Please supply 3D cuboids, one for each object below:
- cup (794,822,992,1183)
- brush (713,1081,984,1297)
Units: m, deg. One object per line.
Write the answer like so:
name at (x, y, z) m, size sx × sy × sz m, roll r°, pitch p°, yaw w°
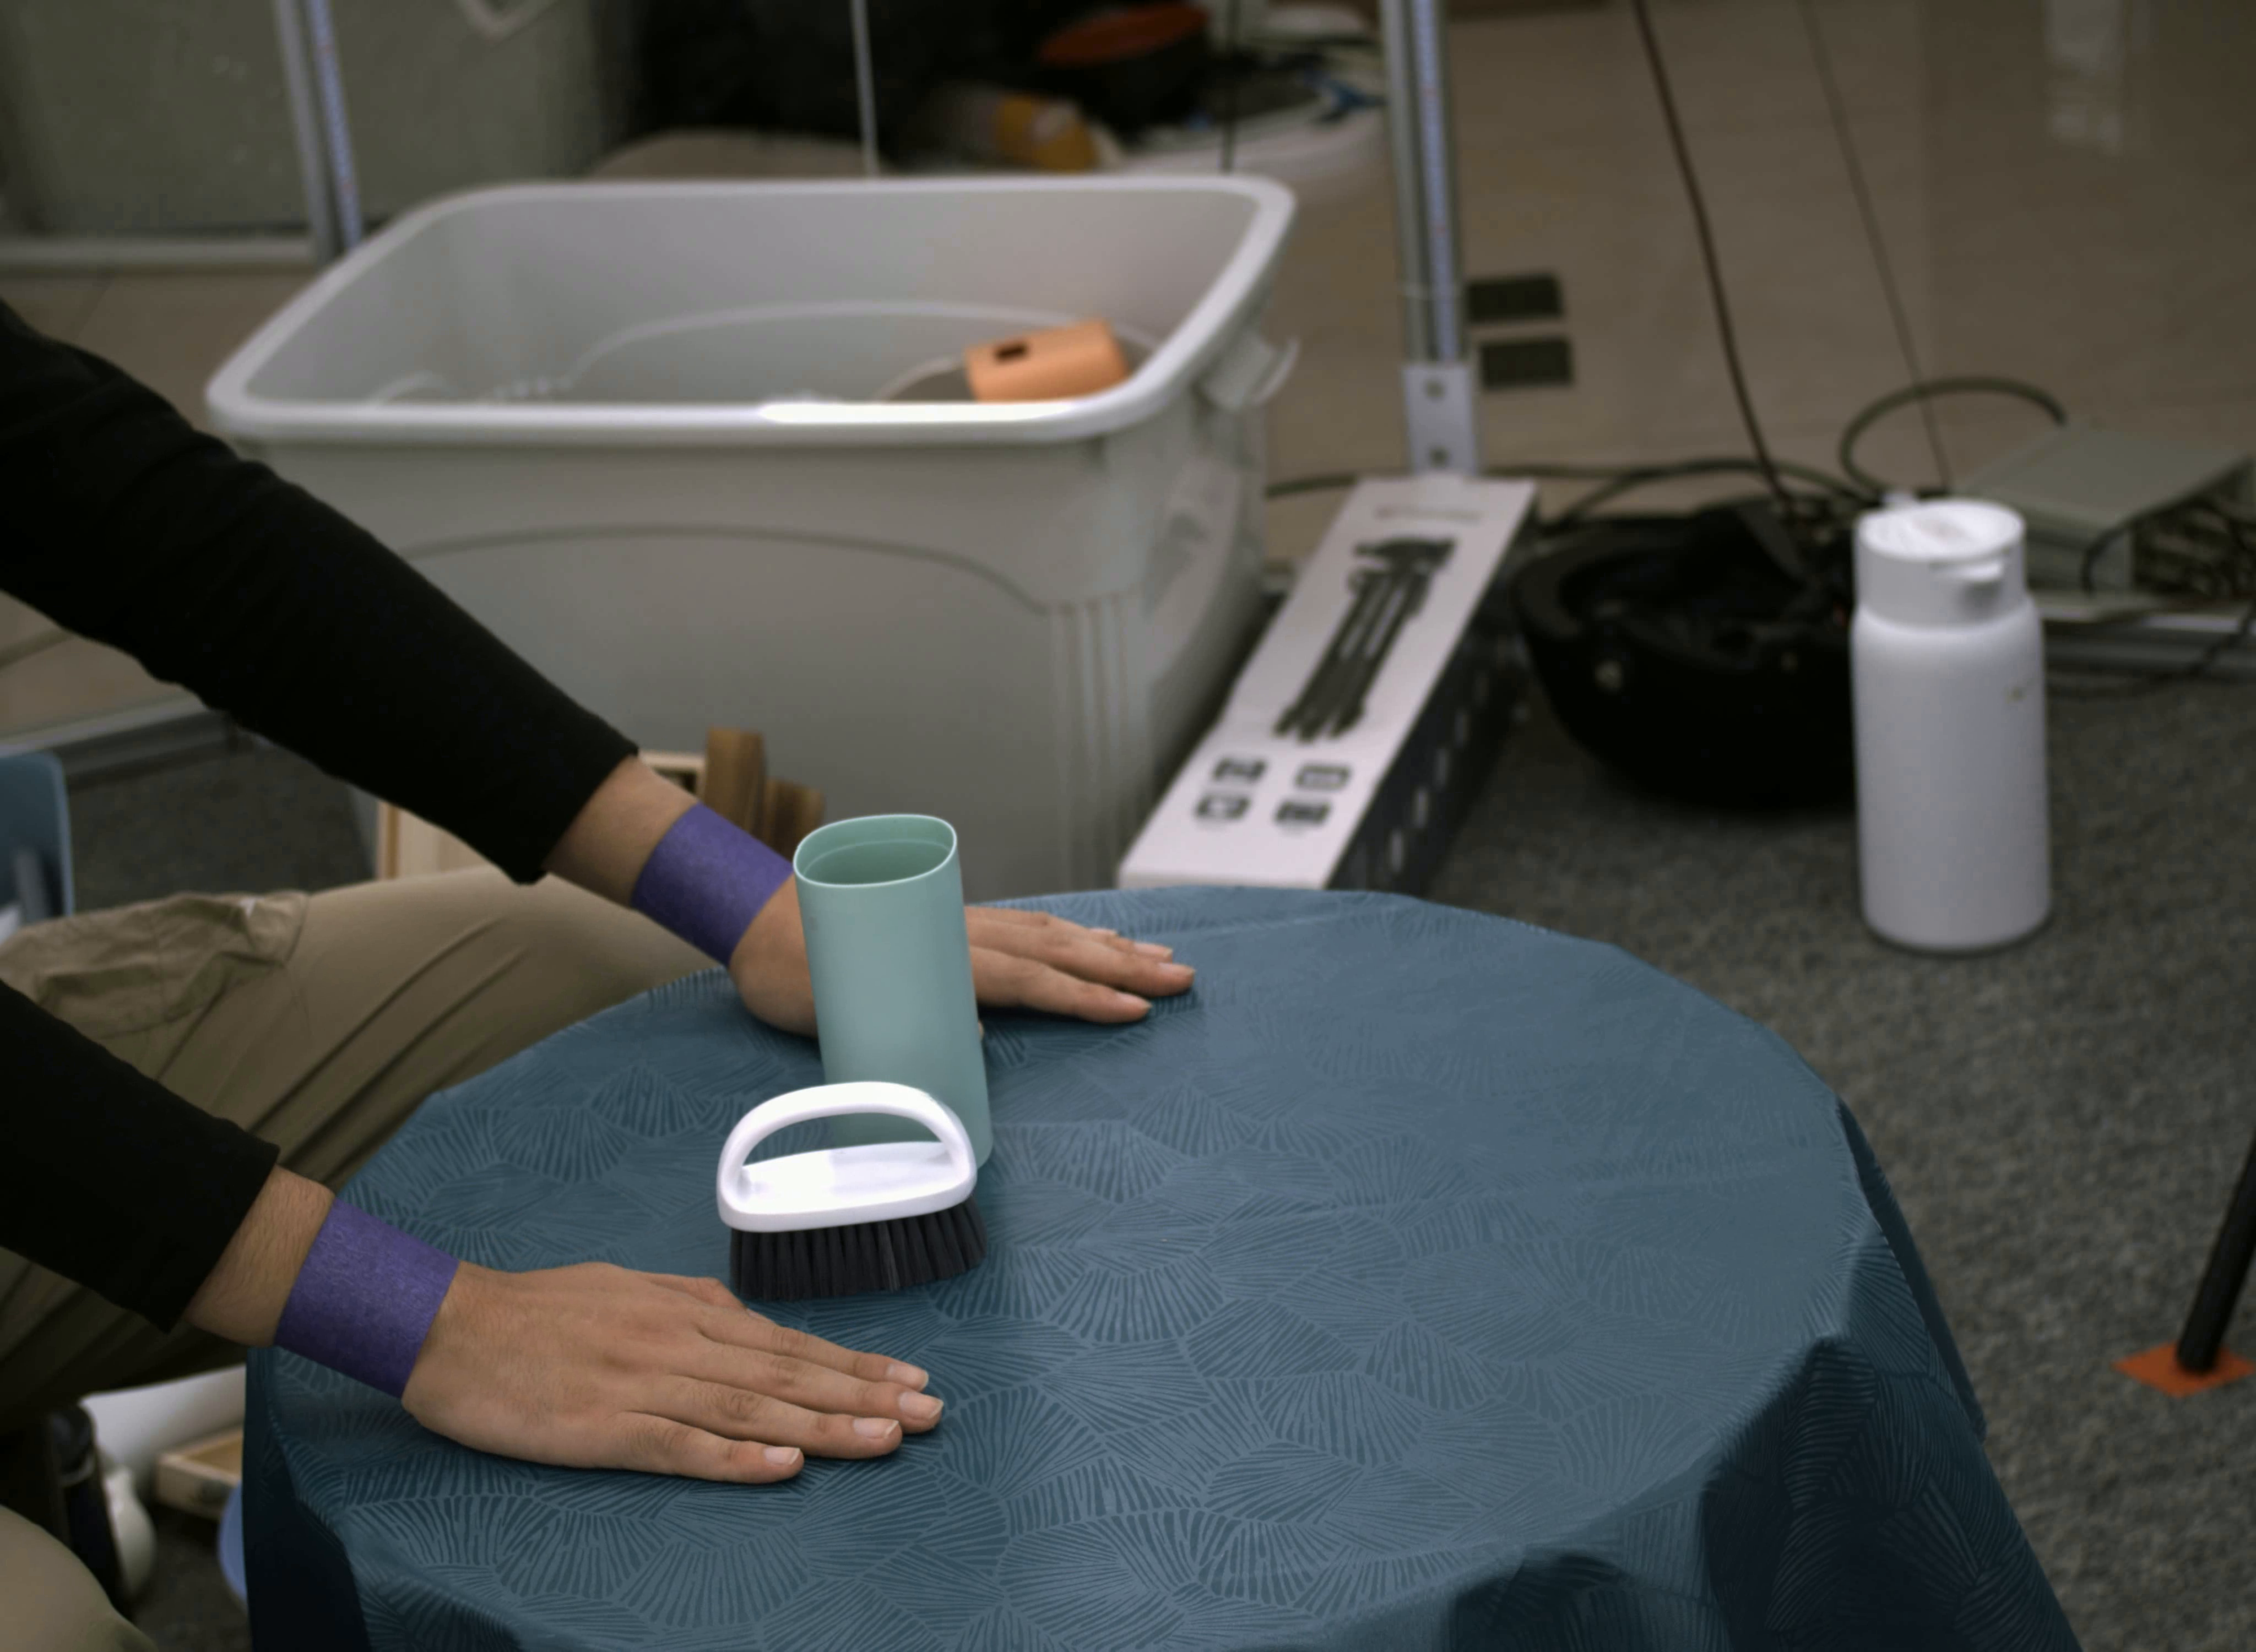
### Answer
cup at (-0.089, 0.071, 2.167) m, size 0.066 × 0.134 × 0.066 m, roll -5°, pitch 26°, yaw 2°
brush at (-0.106, 0.130, 2.102) m, size 0.099 × 0.073 × 0.049 m, roll -5°, pitch 24°, yaw 0°
